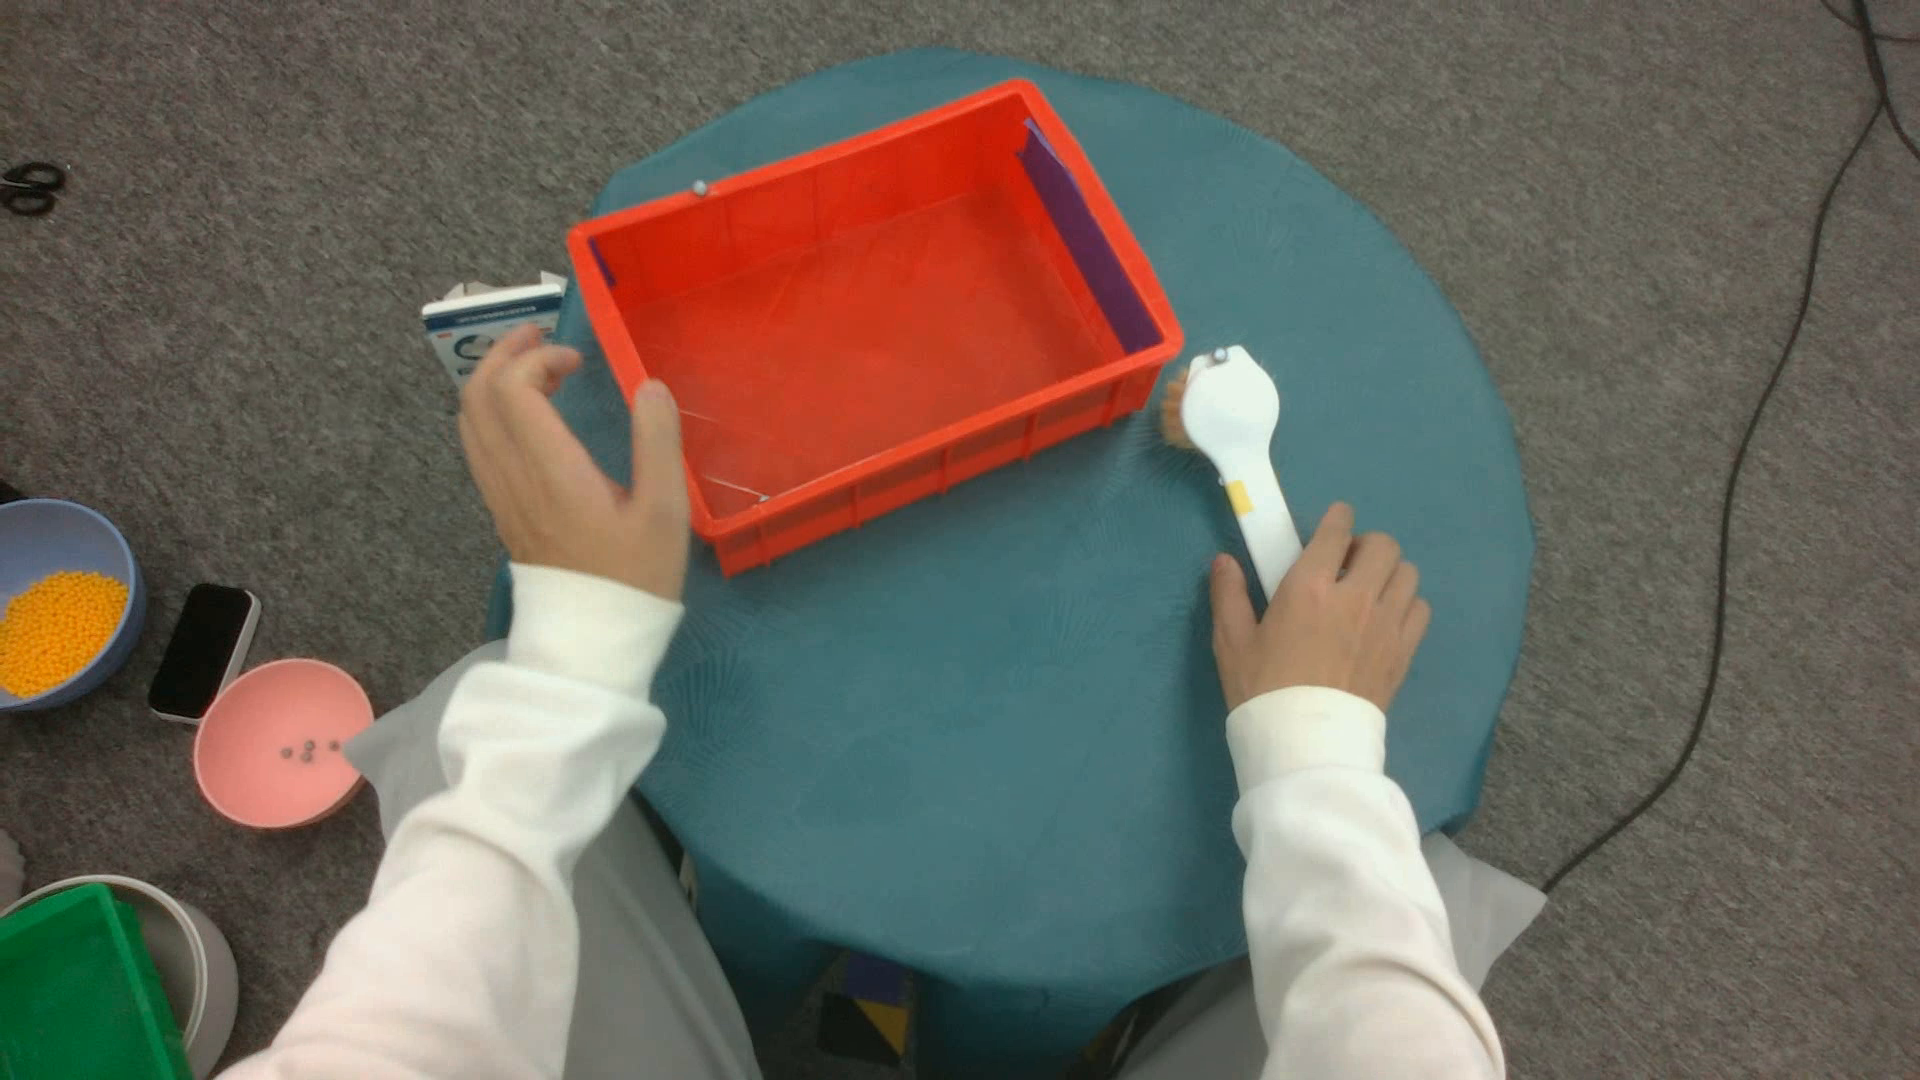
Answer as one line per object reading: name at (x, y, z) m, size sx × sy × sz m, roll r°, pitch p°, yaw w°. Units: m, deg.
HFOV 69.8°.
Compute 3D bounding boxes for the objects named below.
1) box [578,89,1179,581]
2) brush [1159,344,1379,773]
box at (-0.048, -0.123, 0.825) m, size 0.304 × 0.096 × 0.207 m, roll -24°, pitch 71°, yaw -12°
brush at (0.187, 0.008, 0.820) m, size 0.068 × 0.056 × 0.266 m, roll -21°, pitch 83°, yaw 11°
